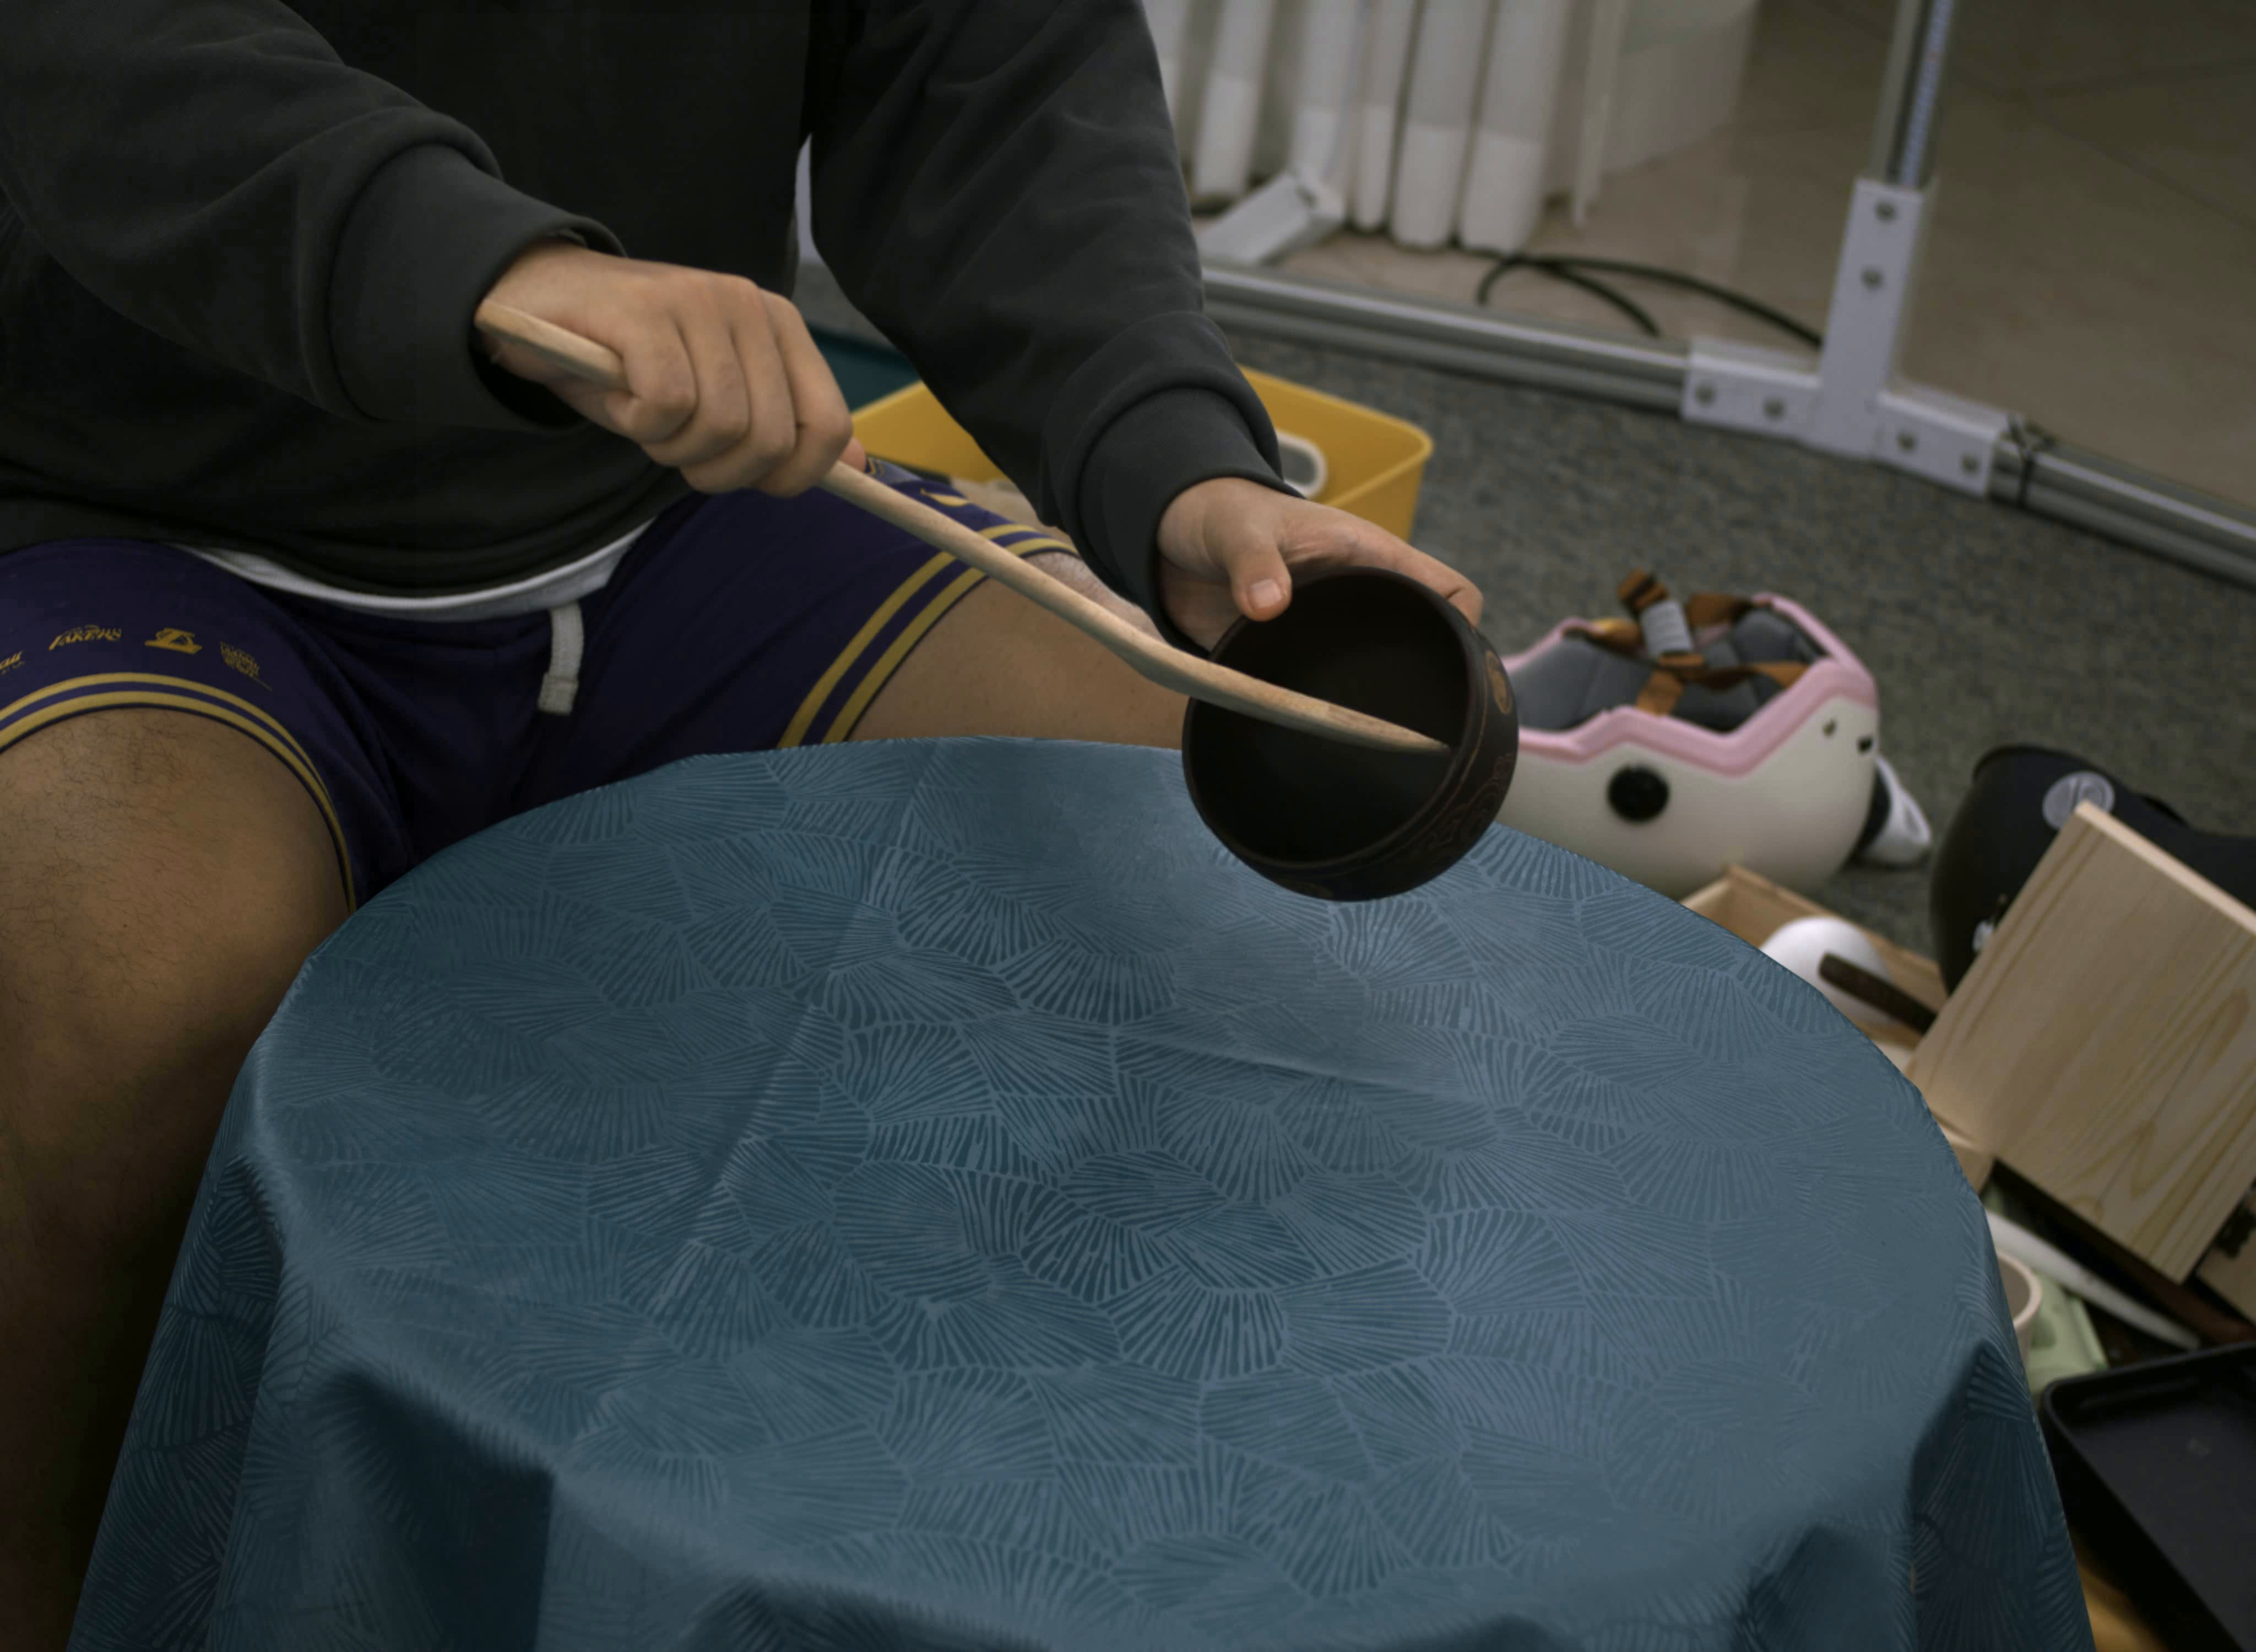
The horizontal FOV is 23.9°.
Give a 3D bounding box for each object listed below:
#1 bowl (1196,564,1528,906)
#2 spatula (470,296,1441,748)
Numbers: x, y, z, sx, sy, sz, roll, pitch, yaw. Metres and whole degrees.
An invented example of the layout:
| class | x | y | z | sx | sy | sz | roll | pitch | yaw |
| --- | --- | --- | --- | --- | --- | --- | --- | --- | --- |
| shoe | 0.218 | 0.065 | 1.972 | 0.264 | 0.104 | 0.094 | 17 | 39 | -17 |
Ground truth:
| class | x | y | z | sx | sy | sz | roll | pitch | yaw |
| --- | --- | --- | --- | --- | --- | --- | --- | --- | --- |
| bowl | 0.090 | -0.026 | 1.873 | 0.069 | 0.118 | 0.119 | 33 | 2 | -46 |
| spatula | -0.054 | -0.094 | 1.742 | 0.387 | 0.018 | 0.096 | 26 | -8 | -35 |
